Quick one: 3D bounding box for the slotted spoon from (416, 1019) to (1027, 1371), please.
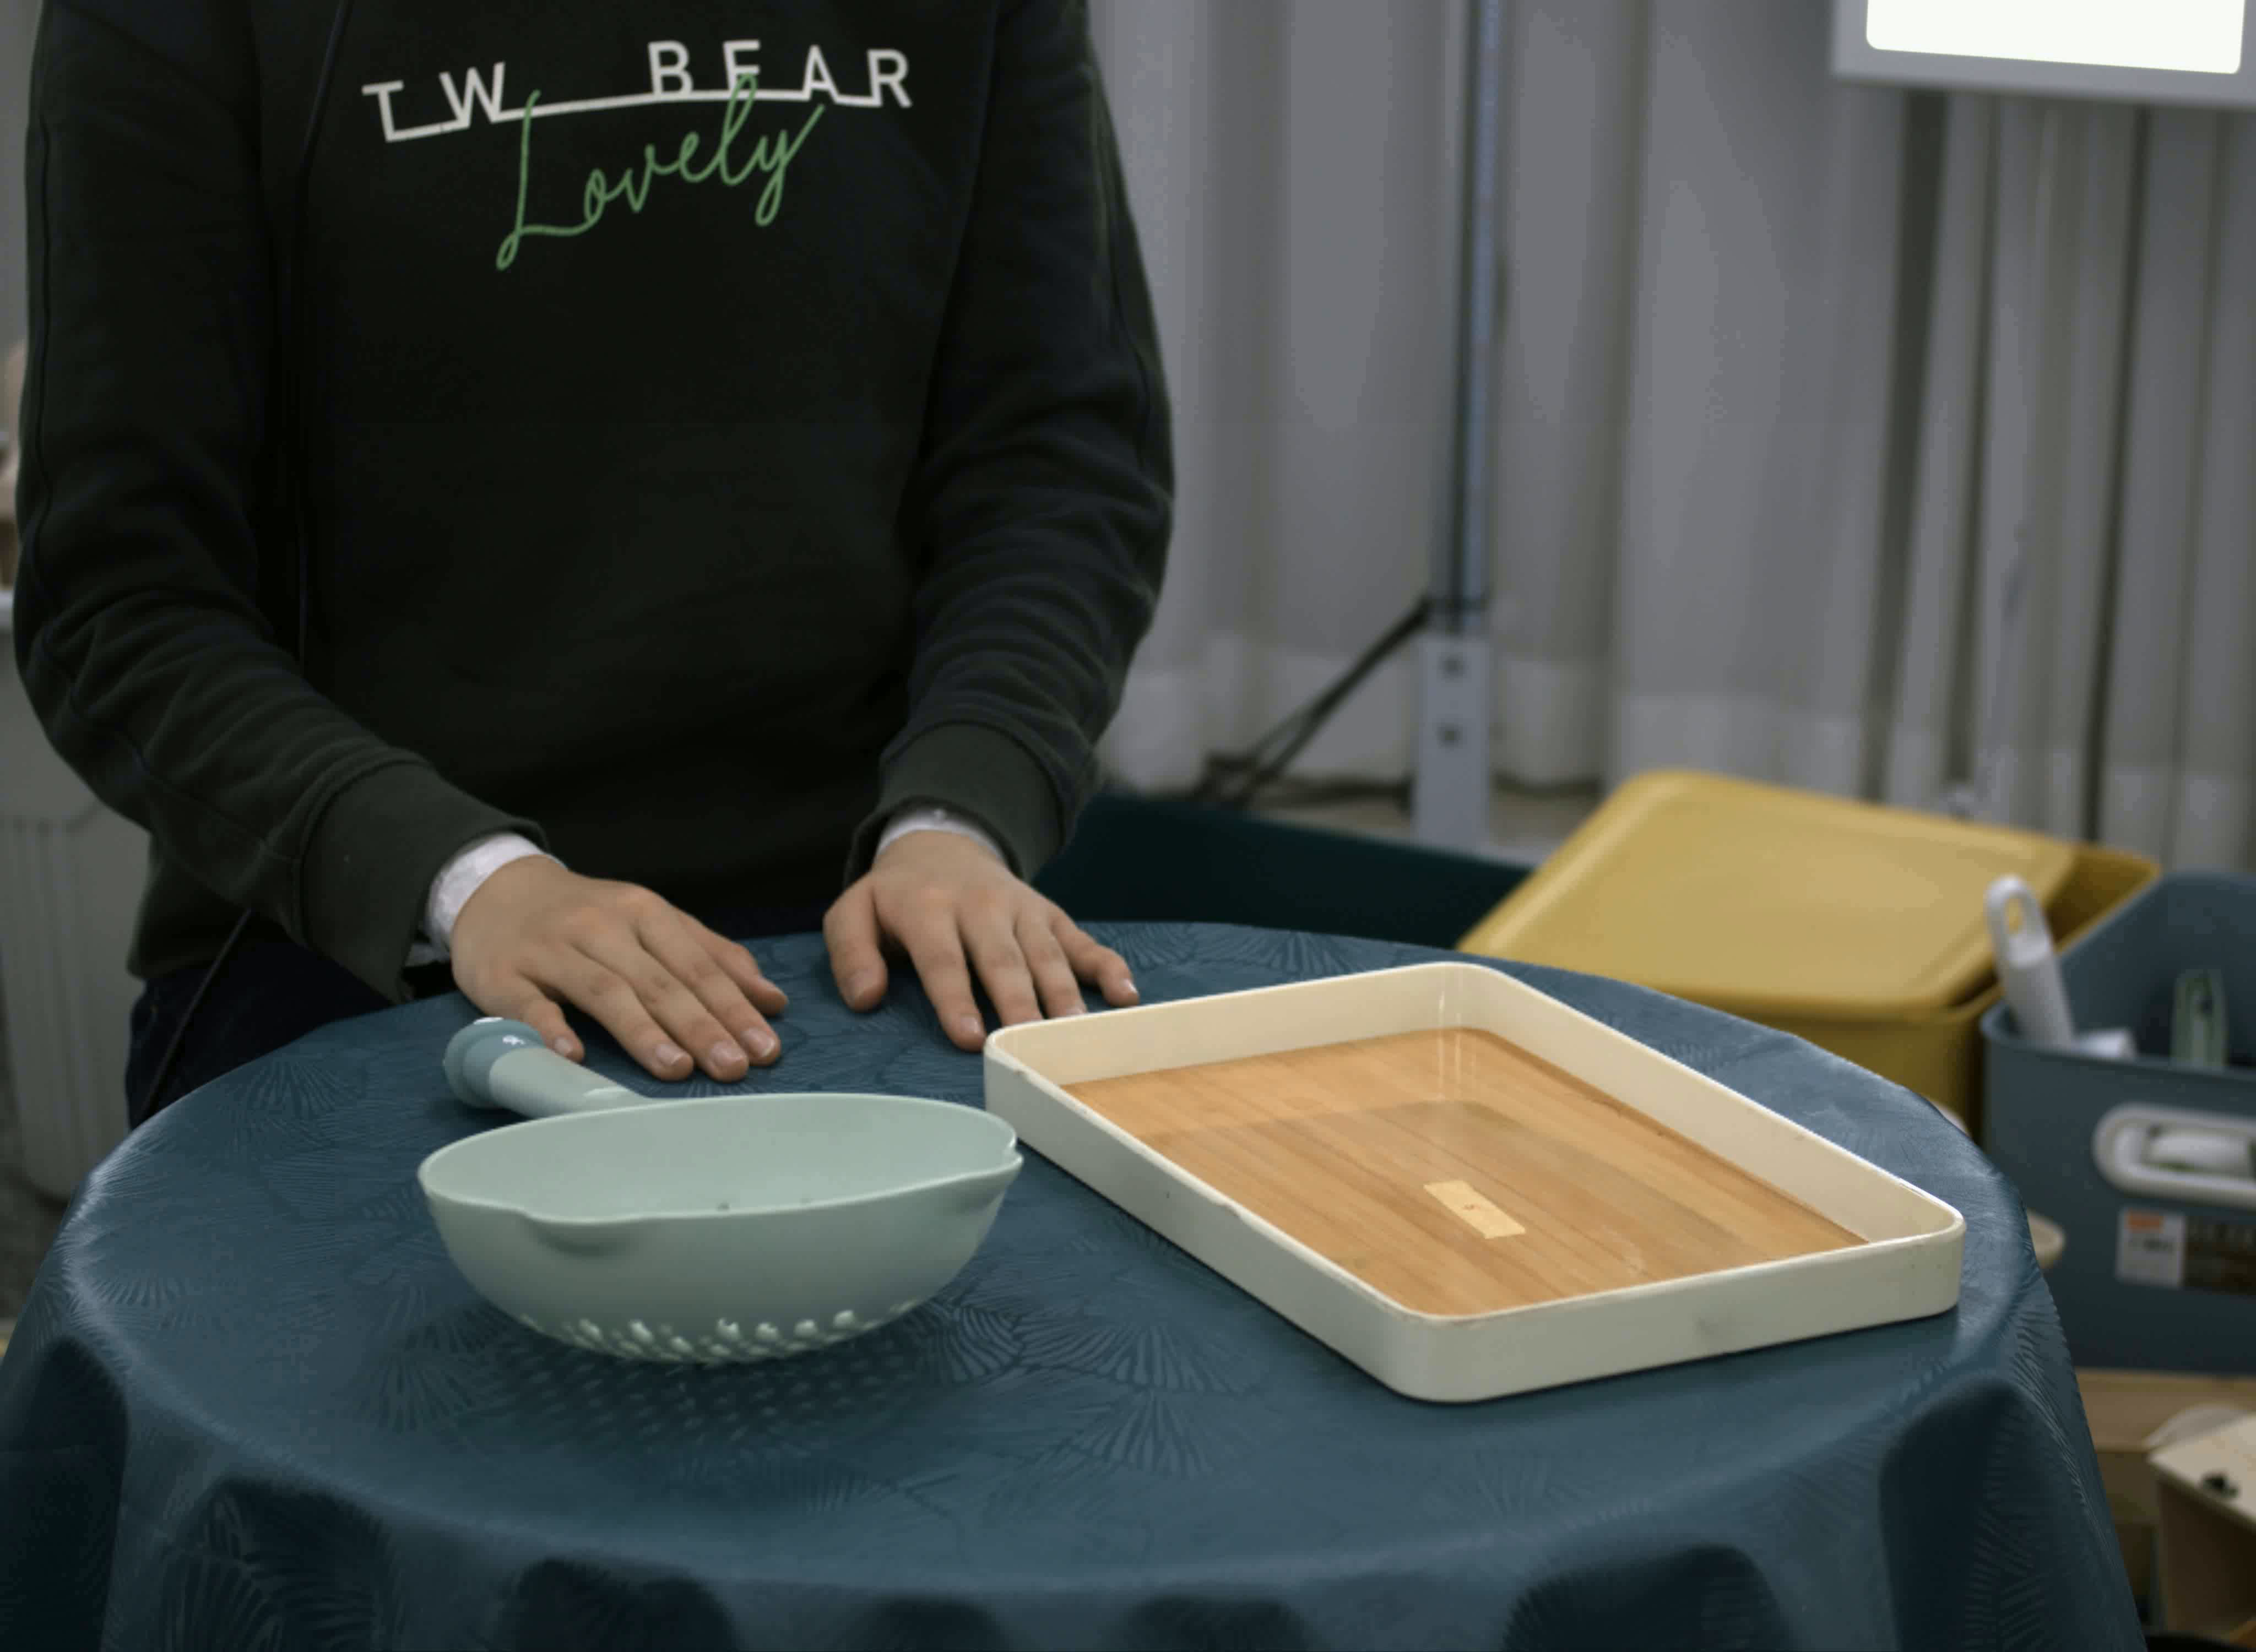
[{"bbox_3d":[-0.150,0.093,1.570,0.170,0.076,0.354,-5,17,-22],"label":"slotted spoon"}]

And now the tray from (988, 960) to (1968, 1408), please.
[{"bbox_3d":[0.100,0.104,1.613,0.192,0.027,0.296,-7,18,-26],"label":"tray"}]
